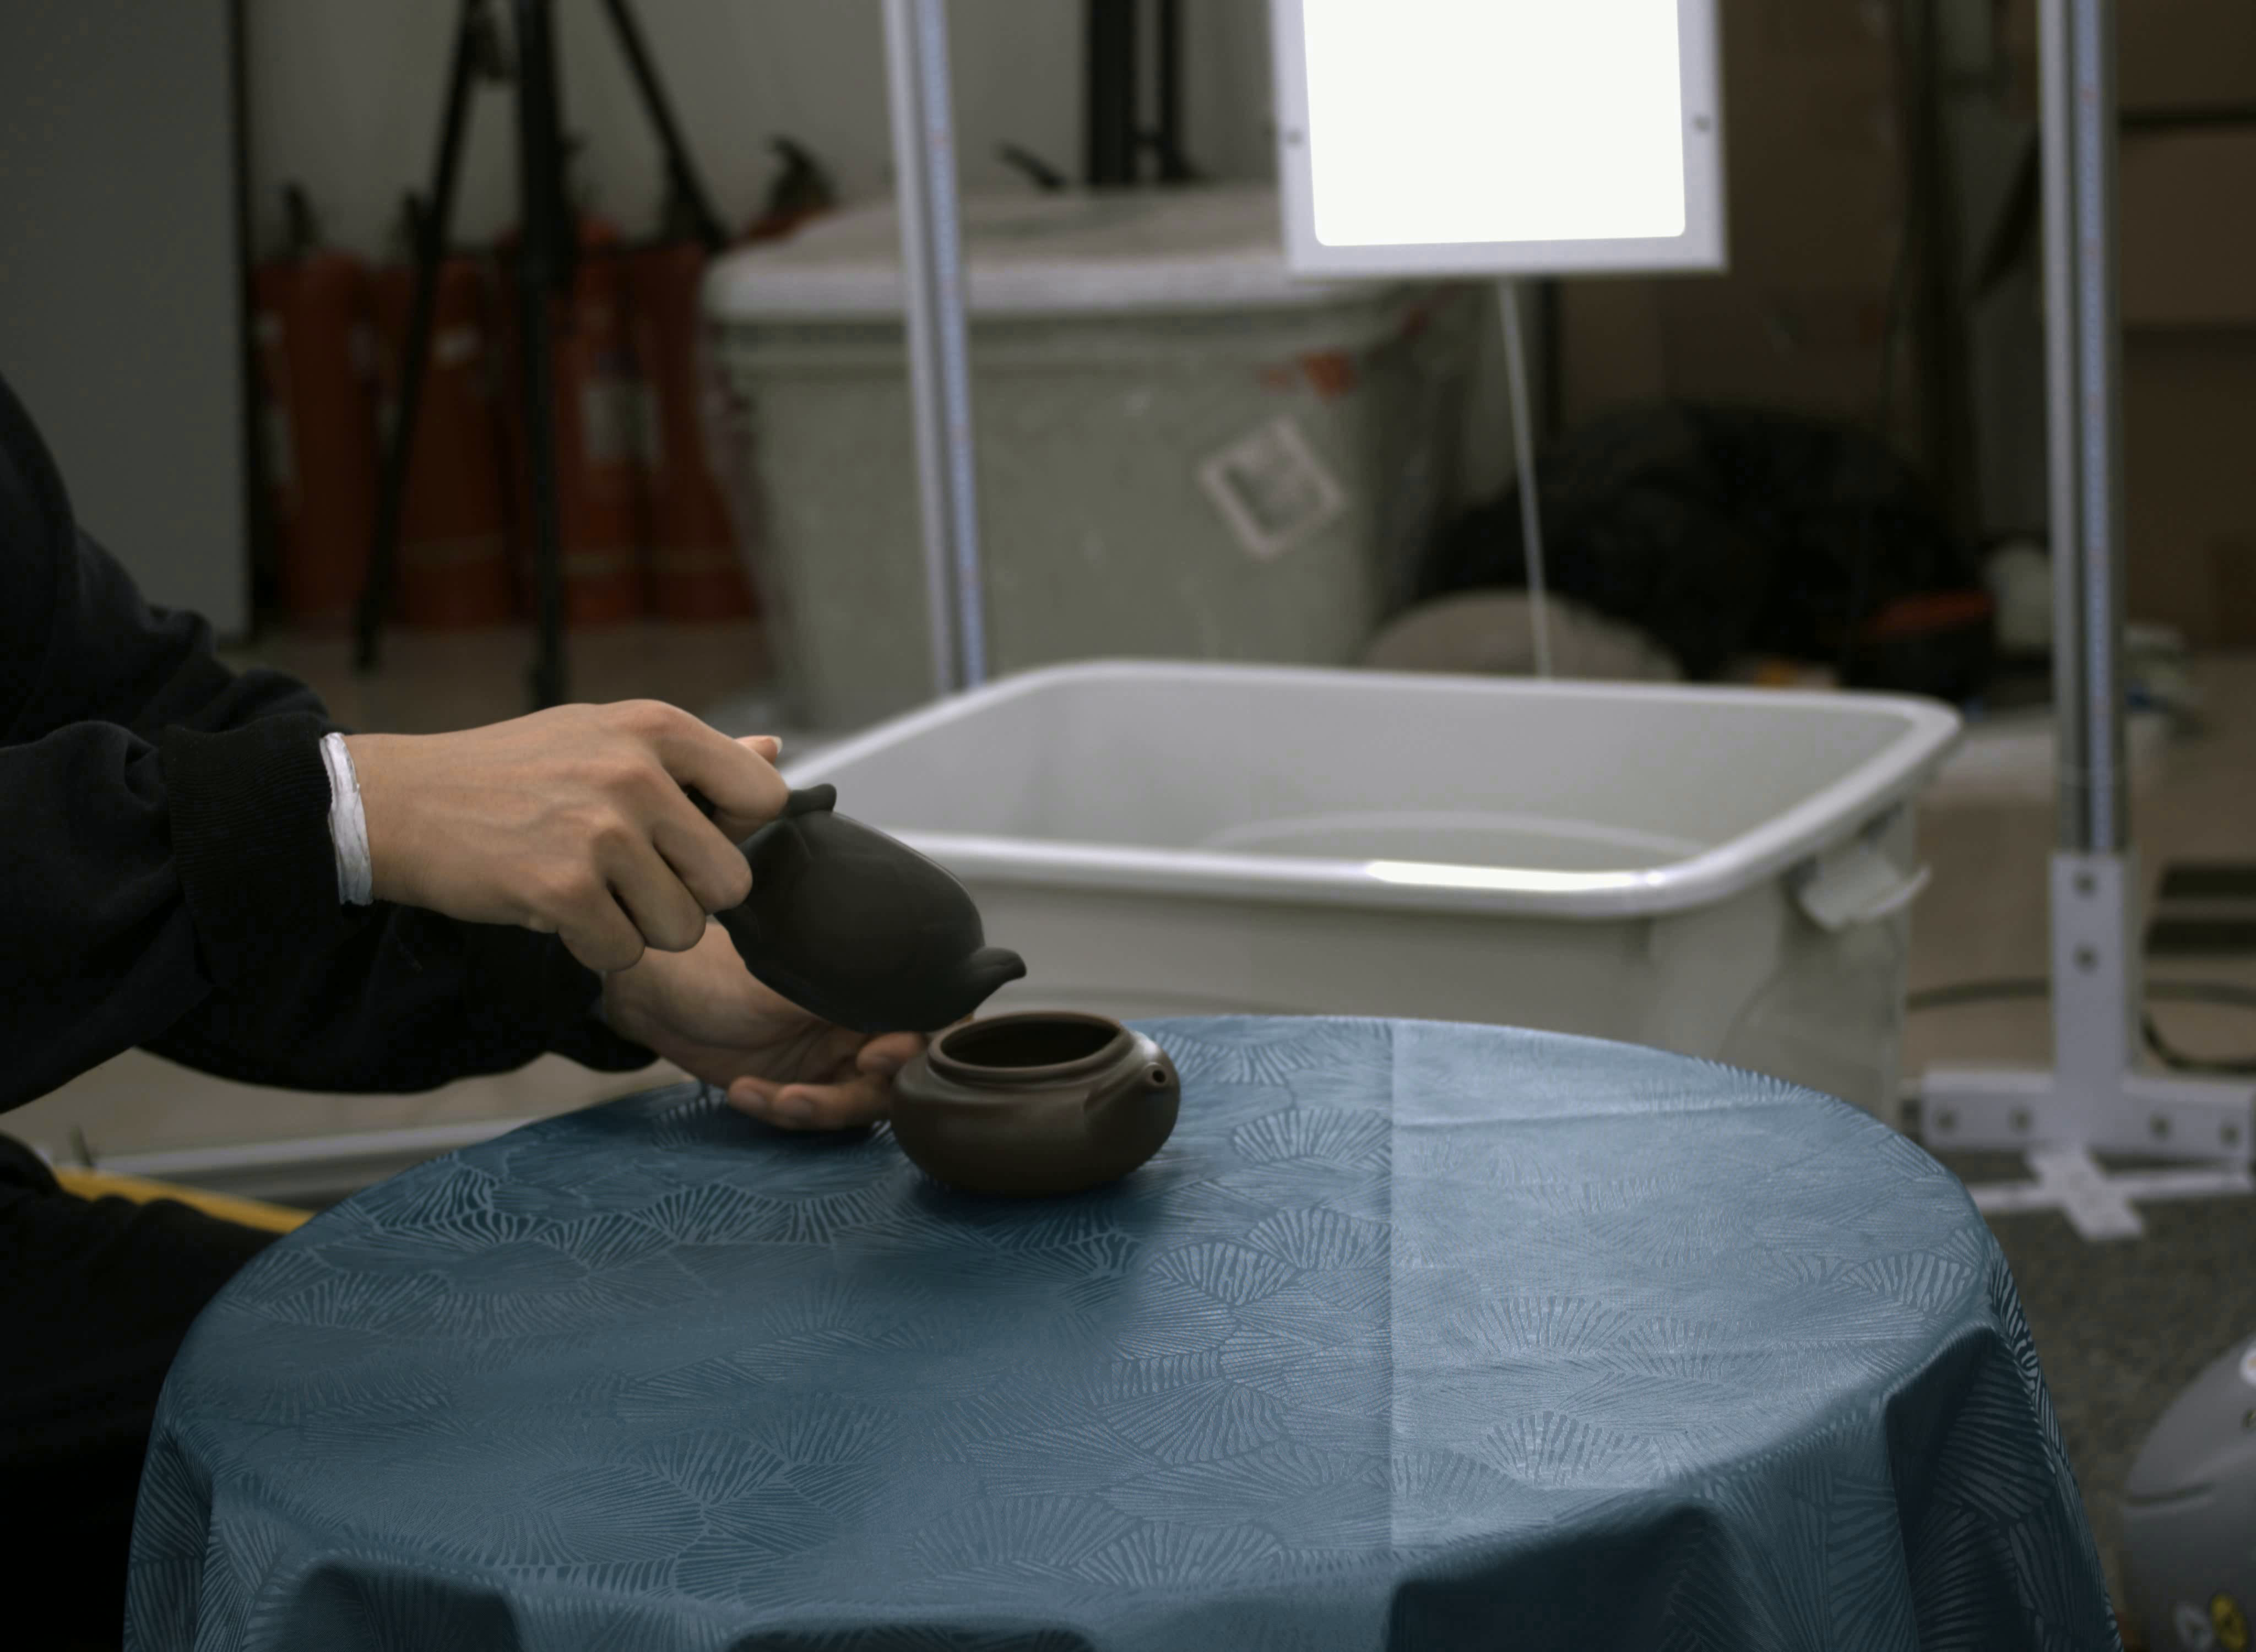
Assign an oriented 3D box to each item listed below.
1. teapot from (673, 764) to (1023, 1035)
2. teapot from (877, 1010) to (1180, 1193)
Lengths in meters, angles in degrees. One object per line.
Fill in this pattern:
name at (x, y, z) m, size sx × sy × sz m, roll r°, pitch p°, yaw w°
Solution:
teapot at (-0.095, 0.029, 1.841) m, size 0.152 × 0.064 × 0.094 m, roll 36°, pitch -14°, yaw -34°
teapot at (-0.036, 0.094, 1.926) m, size 0.100 × 0.054 × 0.157 m, roll -15°, pitch 19°, yaw -42°
